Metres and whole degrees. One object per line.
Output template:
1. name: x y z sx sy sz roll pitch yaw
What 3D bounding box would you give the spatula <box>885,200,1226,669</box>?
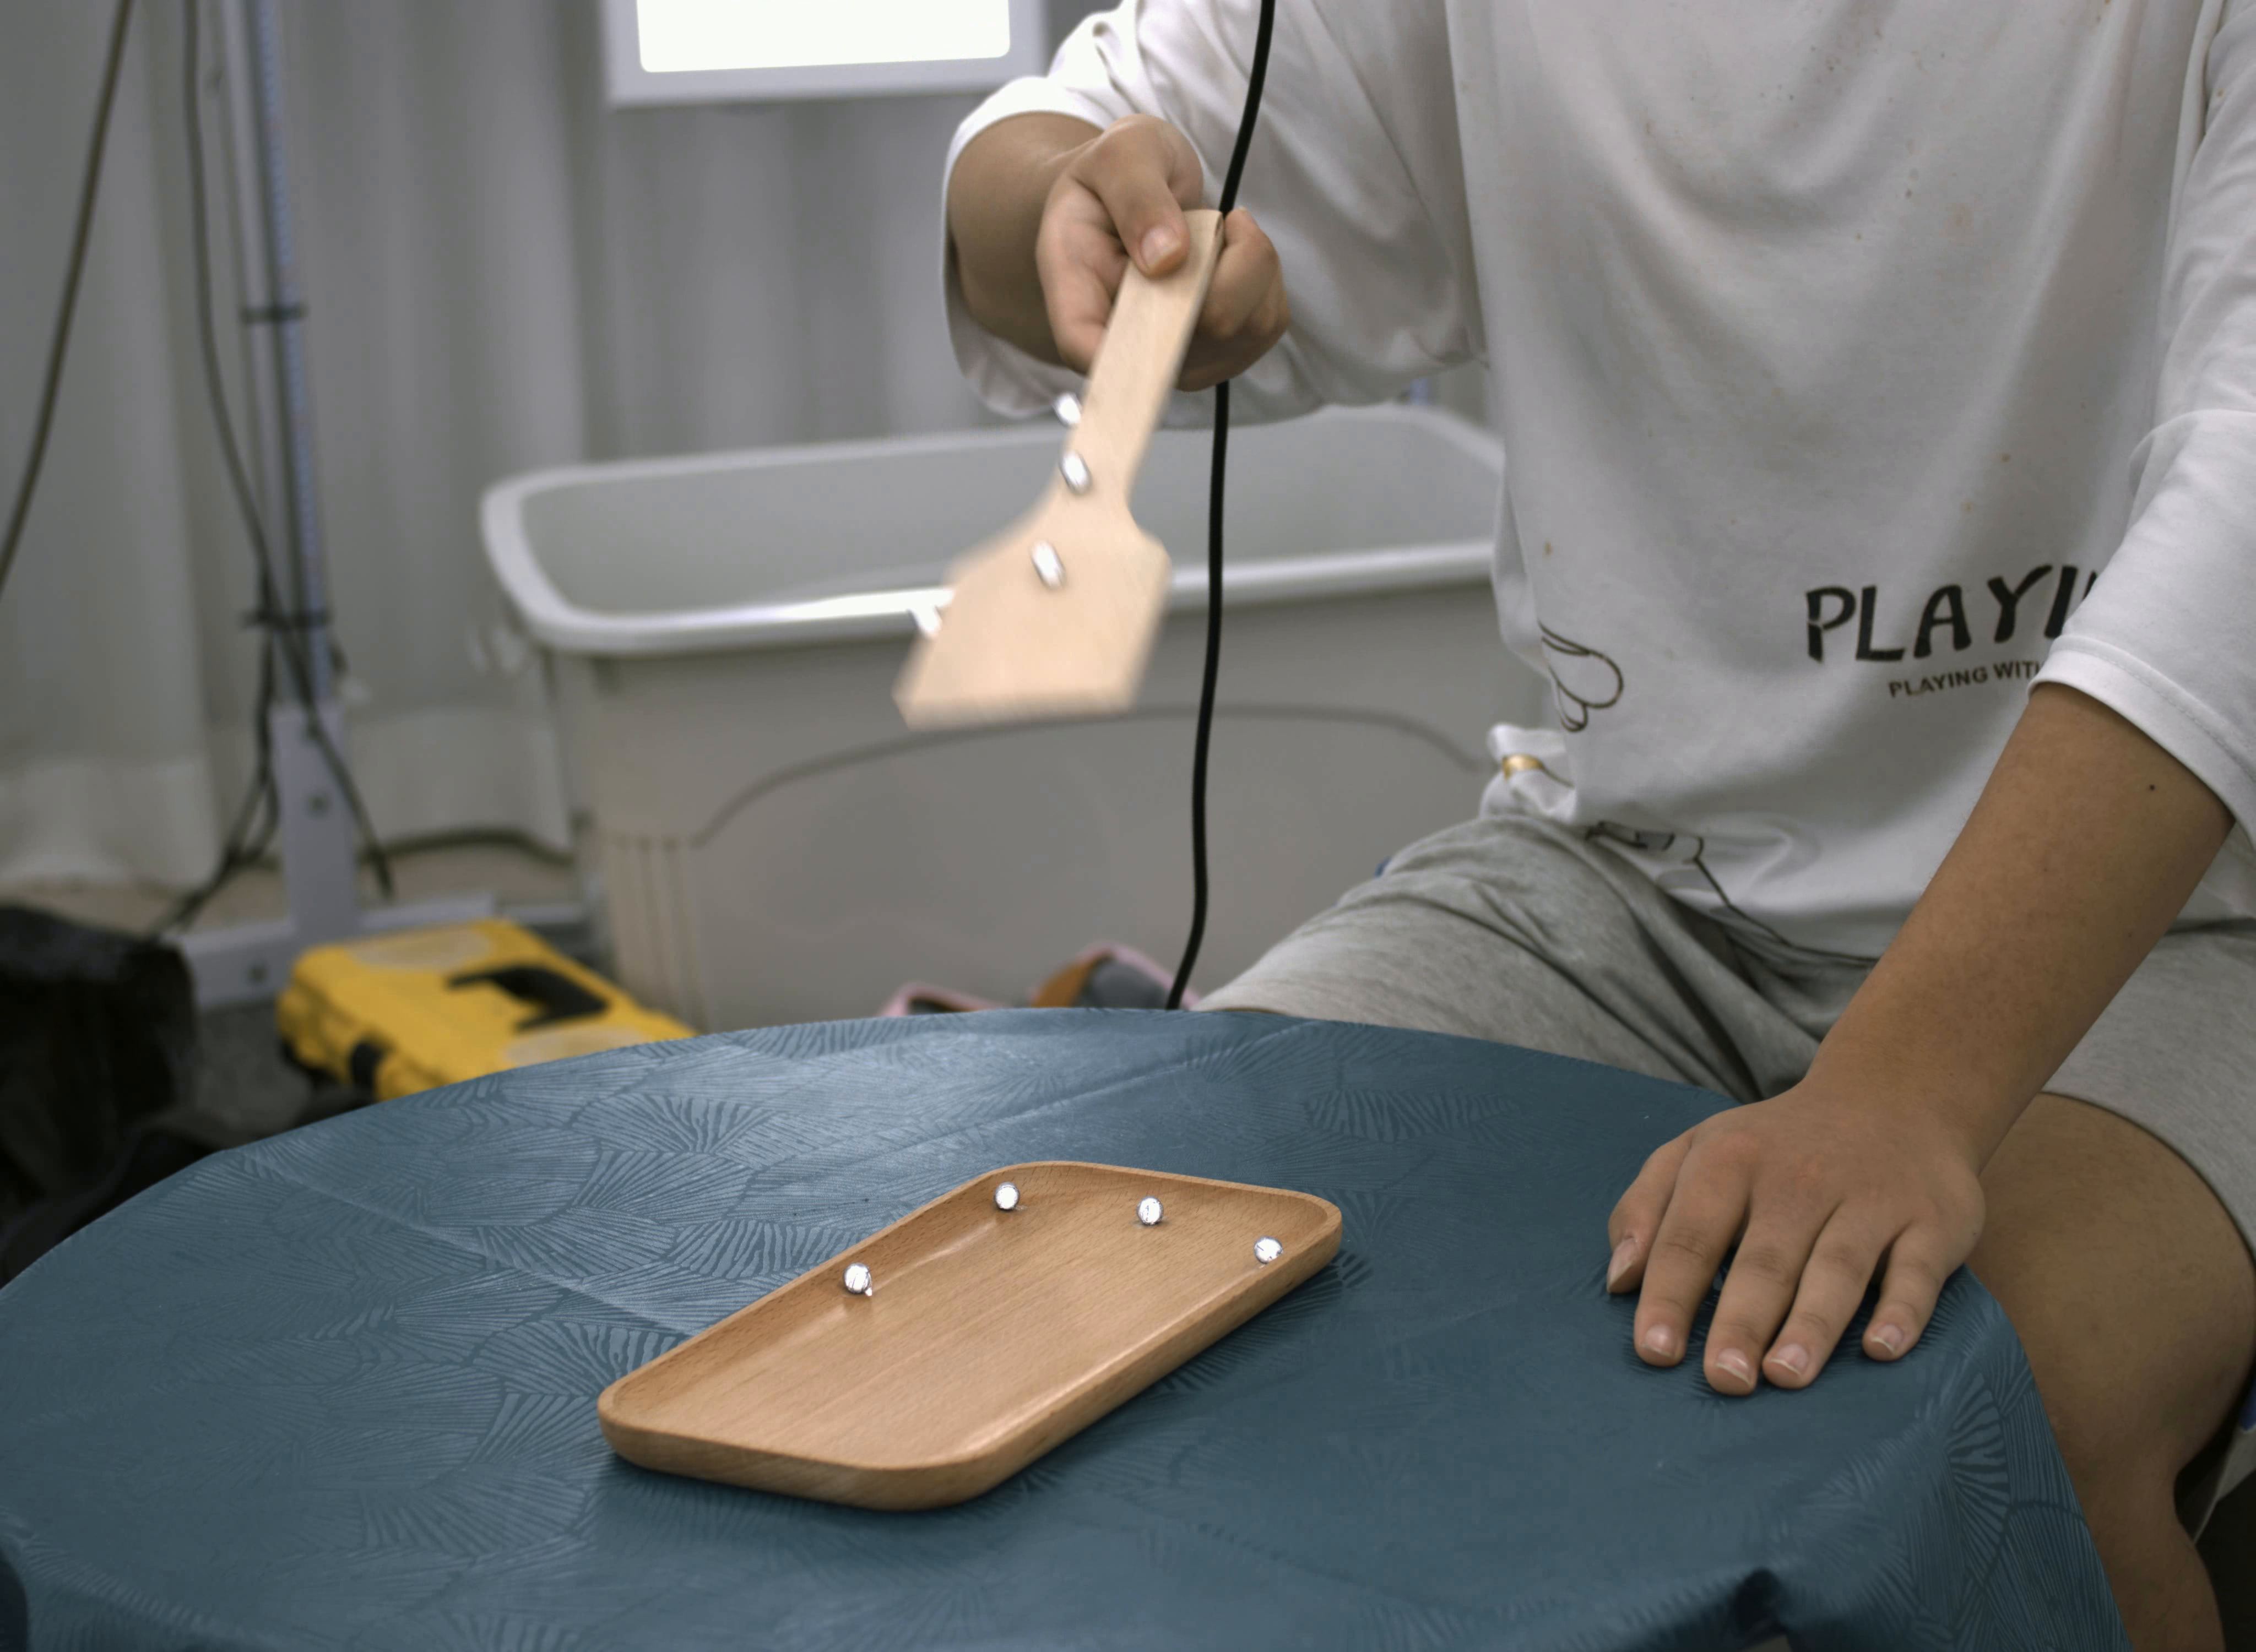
1. spatula: -0.010 -0.124 1.684 0.072 0.010 0.296 -3 32 15

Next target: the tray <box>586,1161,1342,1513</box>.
1. tray: -0.043 0.145 1.581 0.131 0.023 0.251 4 16 31
